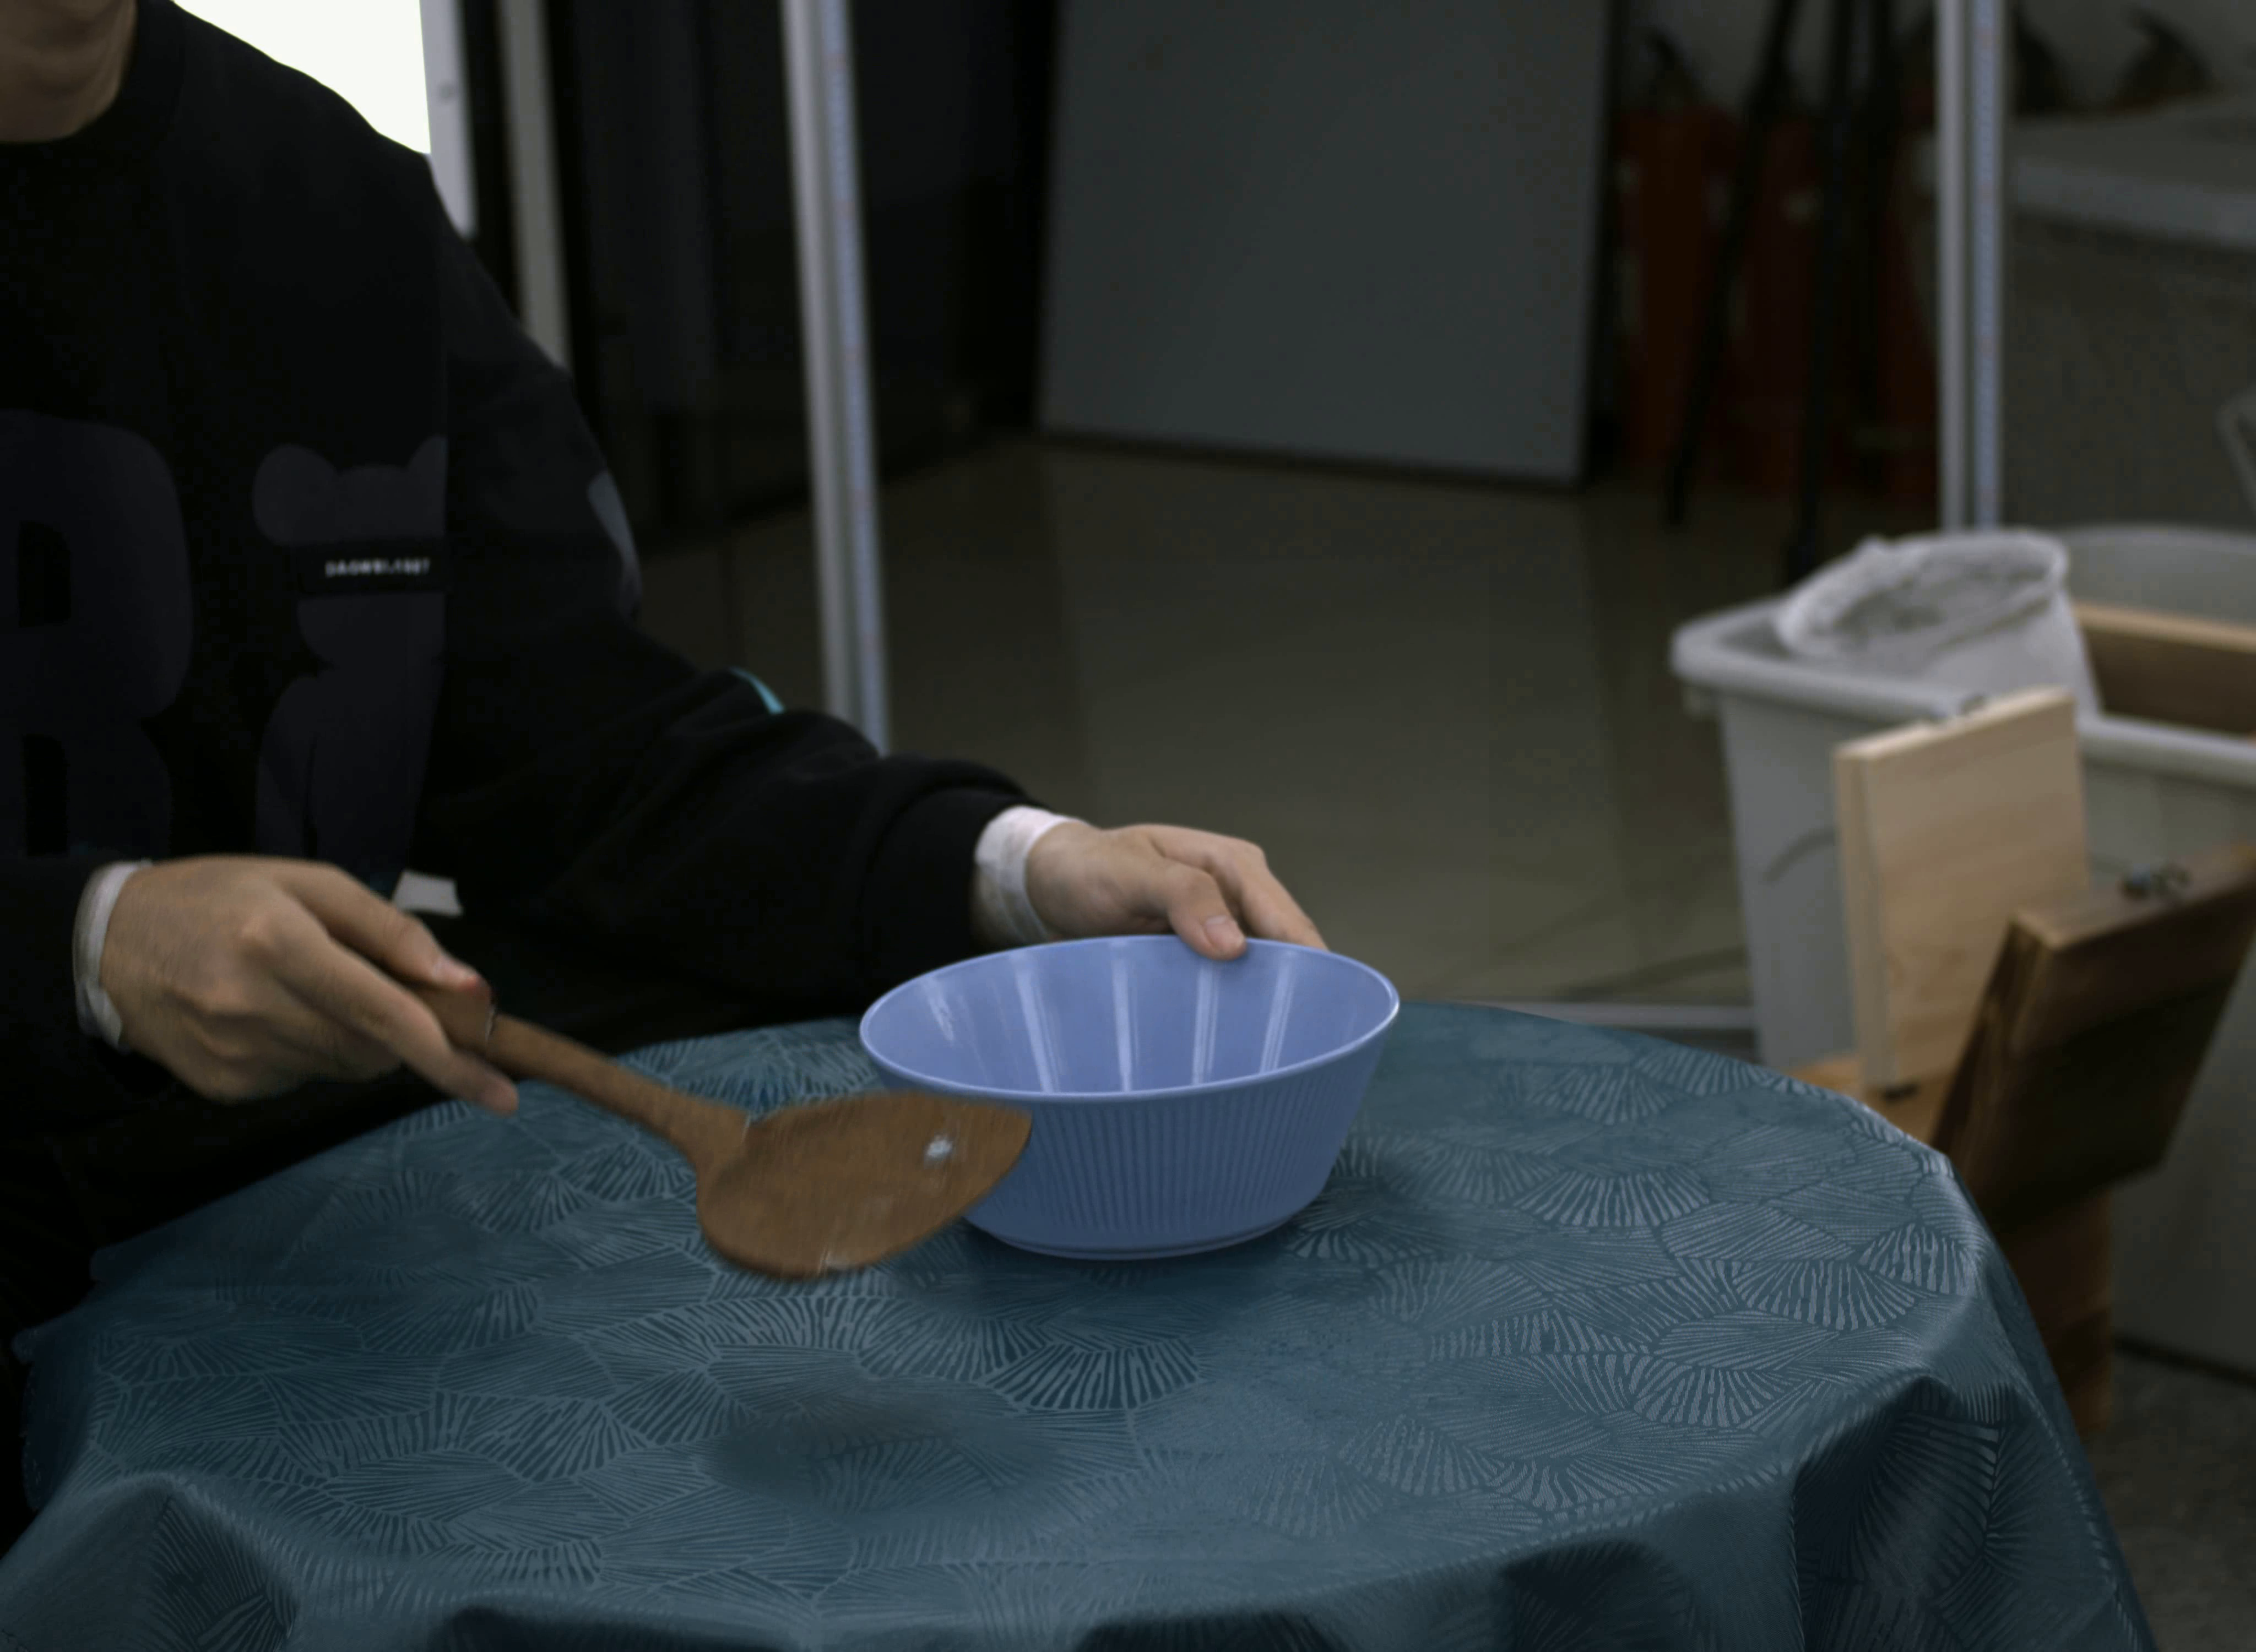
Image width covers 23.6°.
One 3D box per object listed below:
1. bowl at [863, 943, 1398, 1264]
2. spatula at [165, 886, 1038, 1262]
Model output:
[{"bbox_3d":[0.003,0.092,1.743,0.174,0.071,0.176,-5,13,0],"label":"bowl"},{"bbox_3d":[-0.181,0.067,1.675,0.389,0.016,0.095,17,42,43],"label":"spatula"}]
